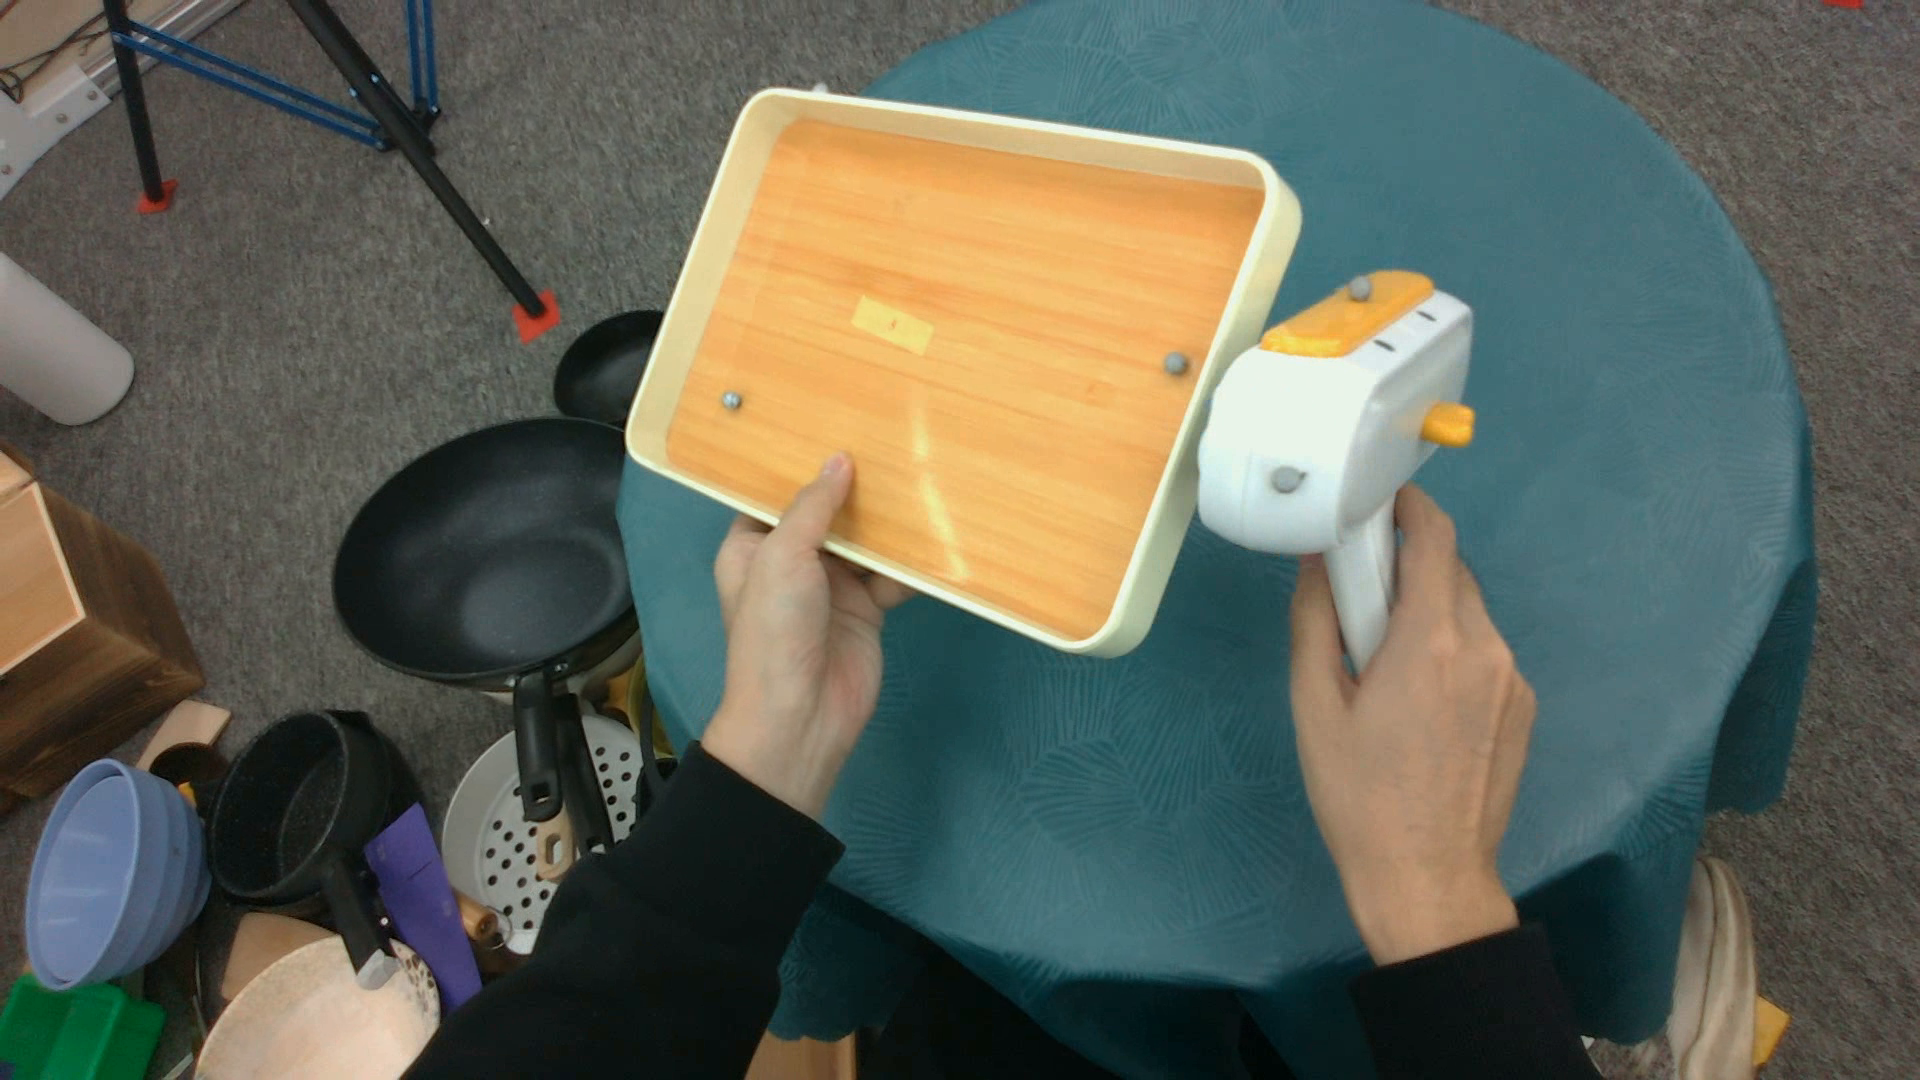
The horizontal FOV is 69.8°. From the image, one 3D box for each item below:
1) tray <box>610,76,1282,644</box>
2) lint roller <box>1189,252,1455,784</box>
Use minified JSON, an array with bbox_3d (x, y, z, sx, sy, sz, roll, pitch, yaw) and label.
[{"bbox_3d":[-0.026,-0.090,0.582,0.300,0.027,0.191,22,92,38],"label":"tray"},{"bbox_3d":[0.145,0.002,0.513,0.074,0.192,0.194,4,24,25],"label":"lint roller"}]
